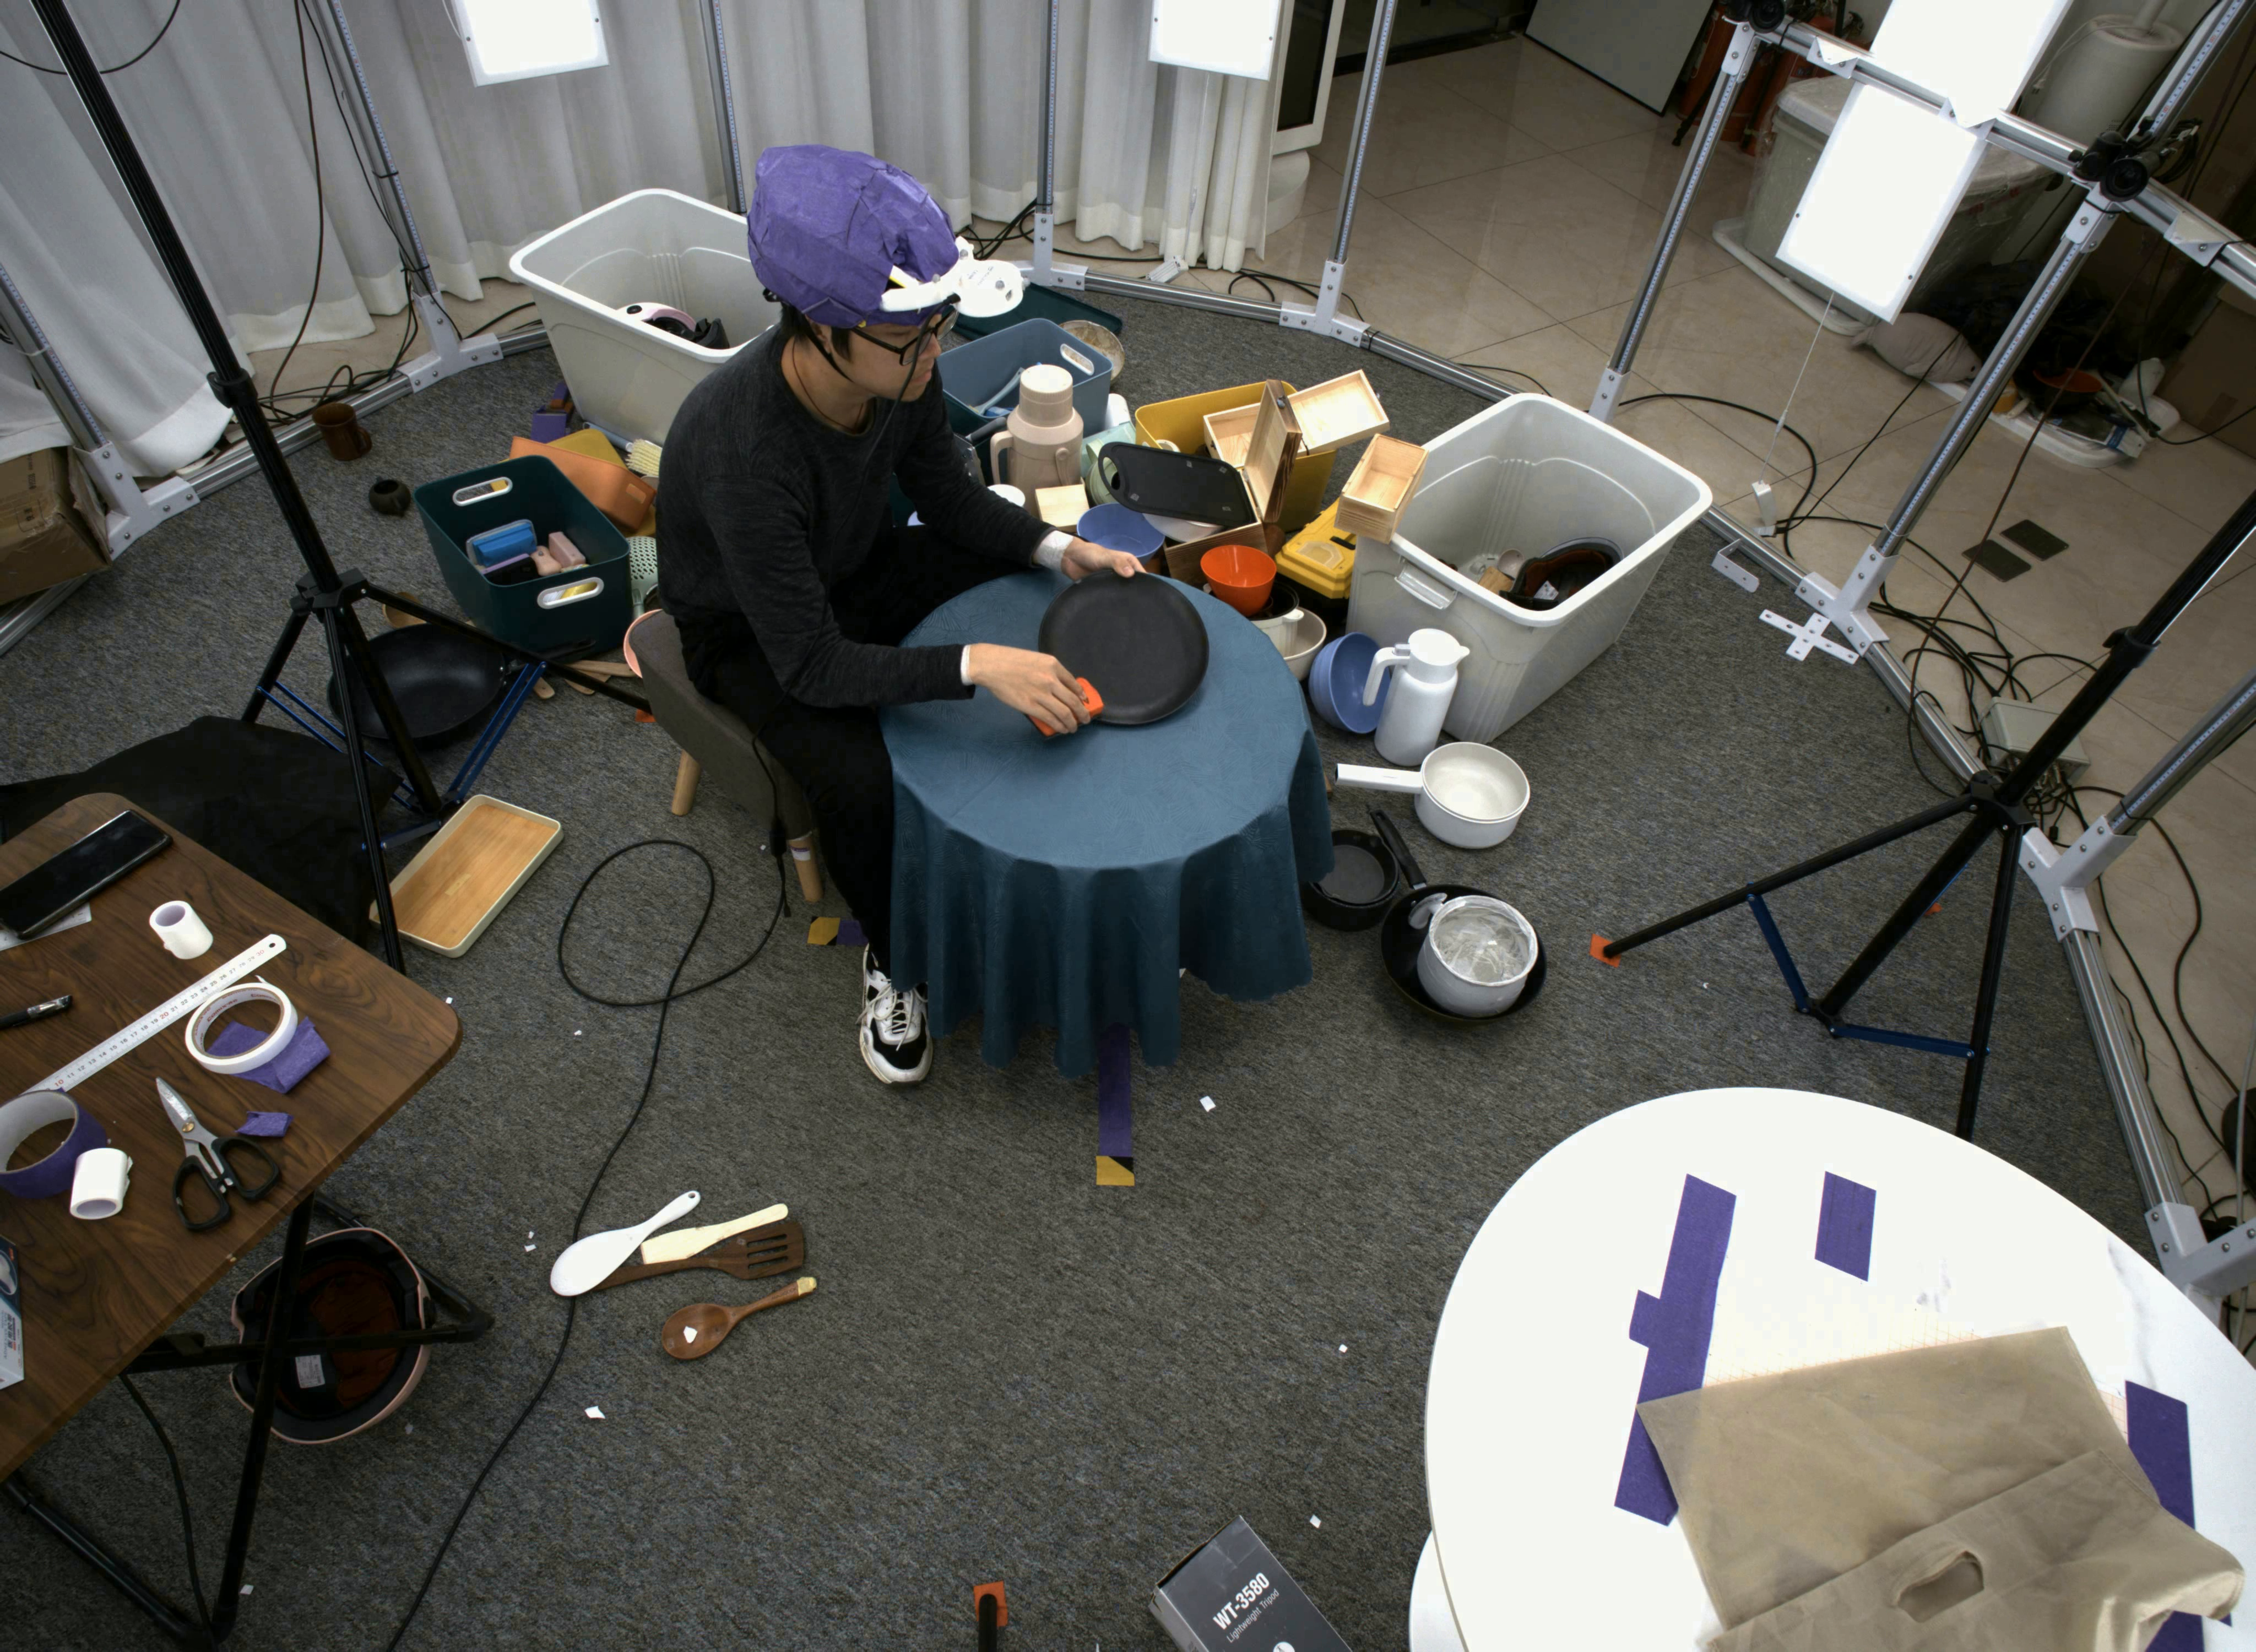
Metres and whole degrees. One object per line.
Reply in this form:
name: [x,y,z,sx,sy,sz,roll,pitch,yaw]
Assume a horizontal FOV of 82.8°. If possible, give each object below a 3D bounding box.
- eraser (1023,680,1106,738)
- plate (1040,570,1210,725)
eraser: [-0.086,-0.161,1.759,0.108,0.022,0.060,-25,64,-34]
plate: [-0.005,-0.254,1.835,0.244,0.023,0.248,2,69,-5]
